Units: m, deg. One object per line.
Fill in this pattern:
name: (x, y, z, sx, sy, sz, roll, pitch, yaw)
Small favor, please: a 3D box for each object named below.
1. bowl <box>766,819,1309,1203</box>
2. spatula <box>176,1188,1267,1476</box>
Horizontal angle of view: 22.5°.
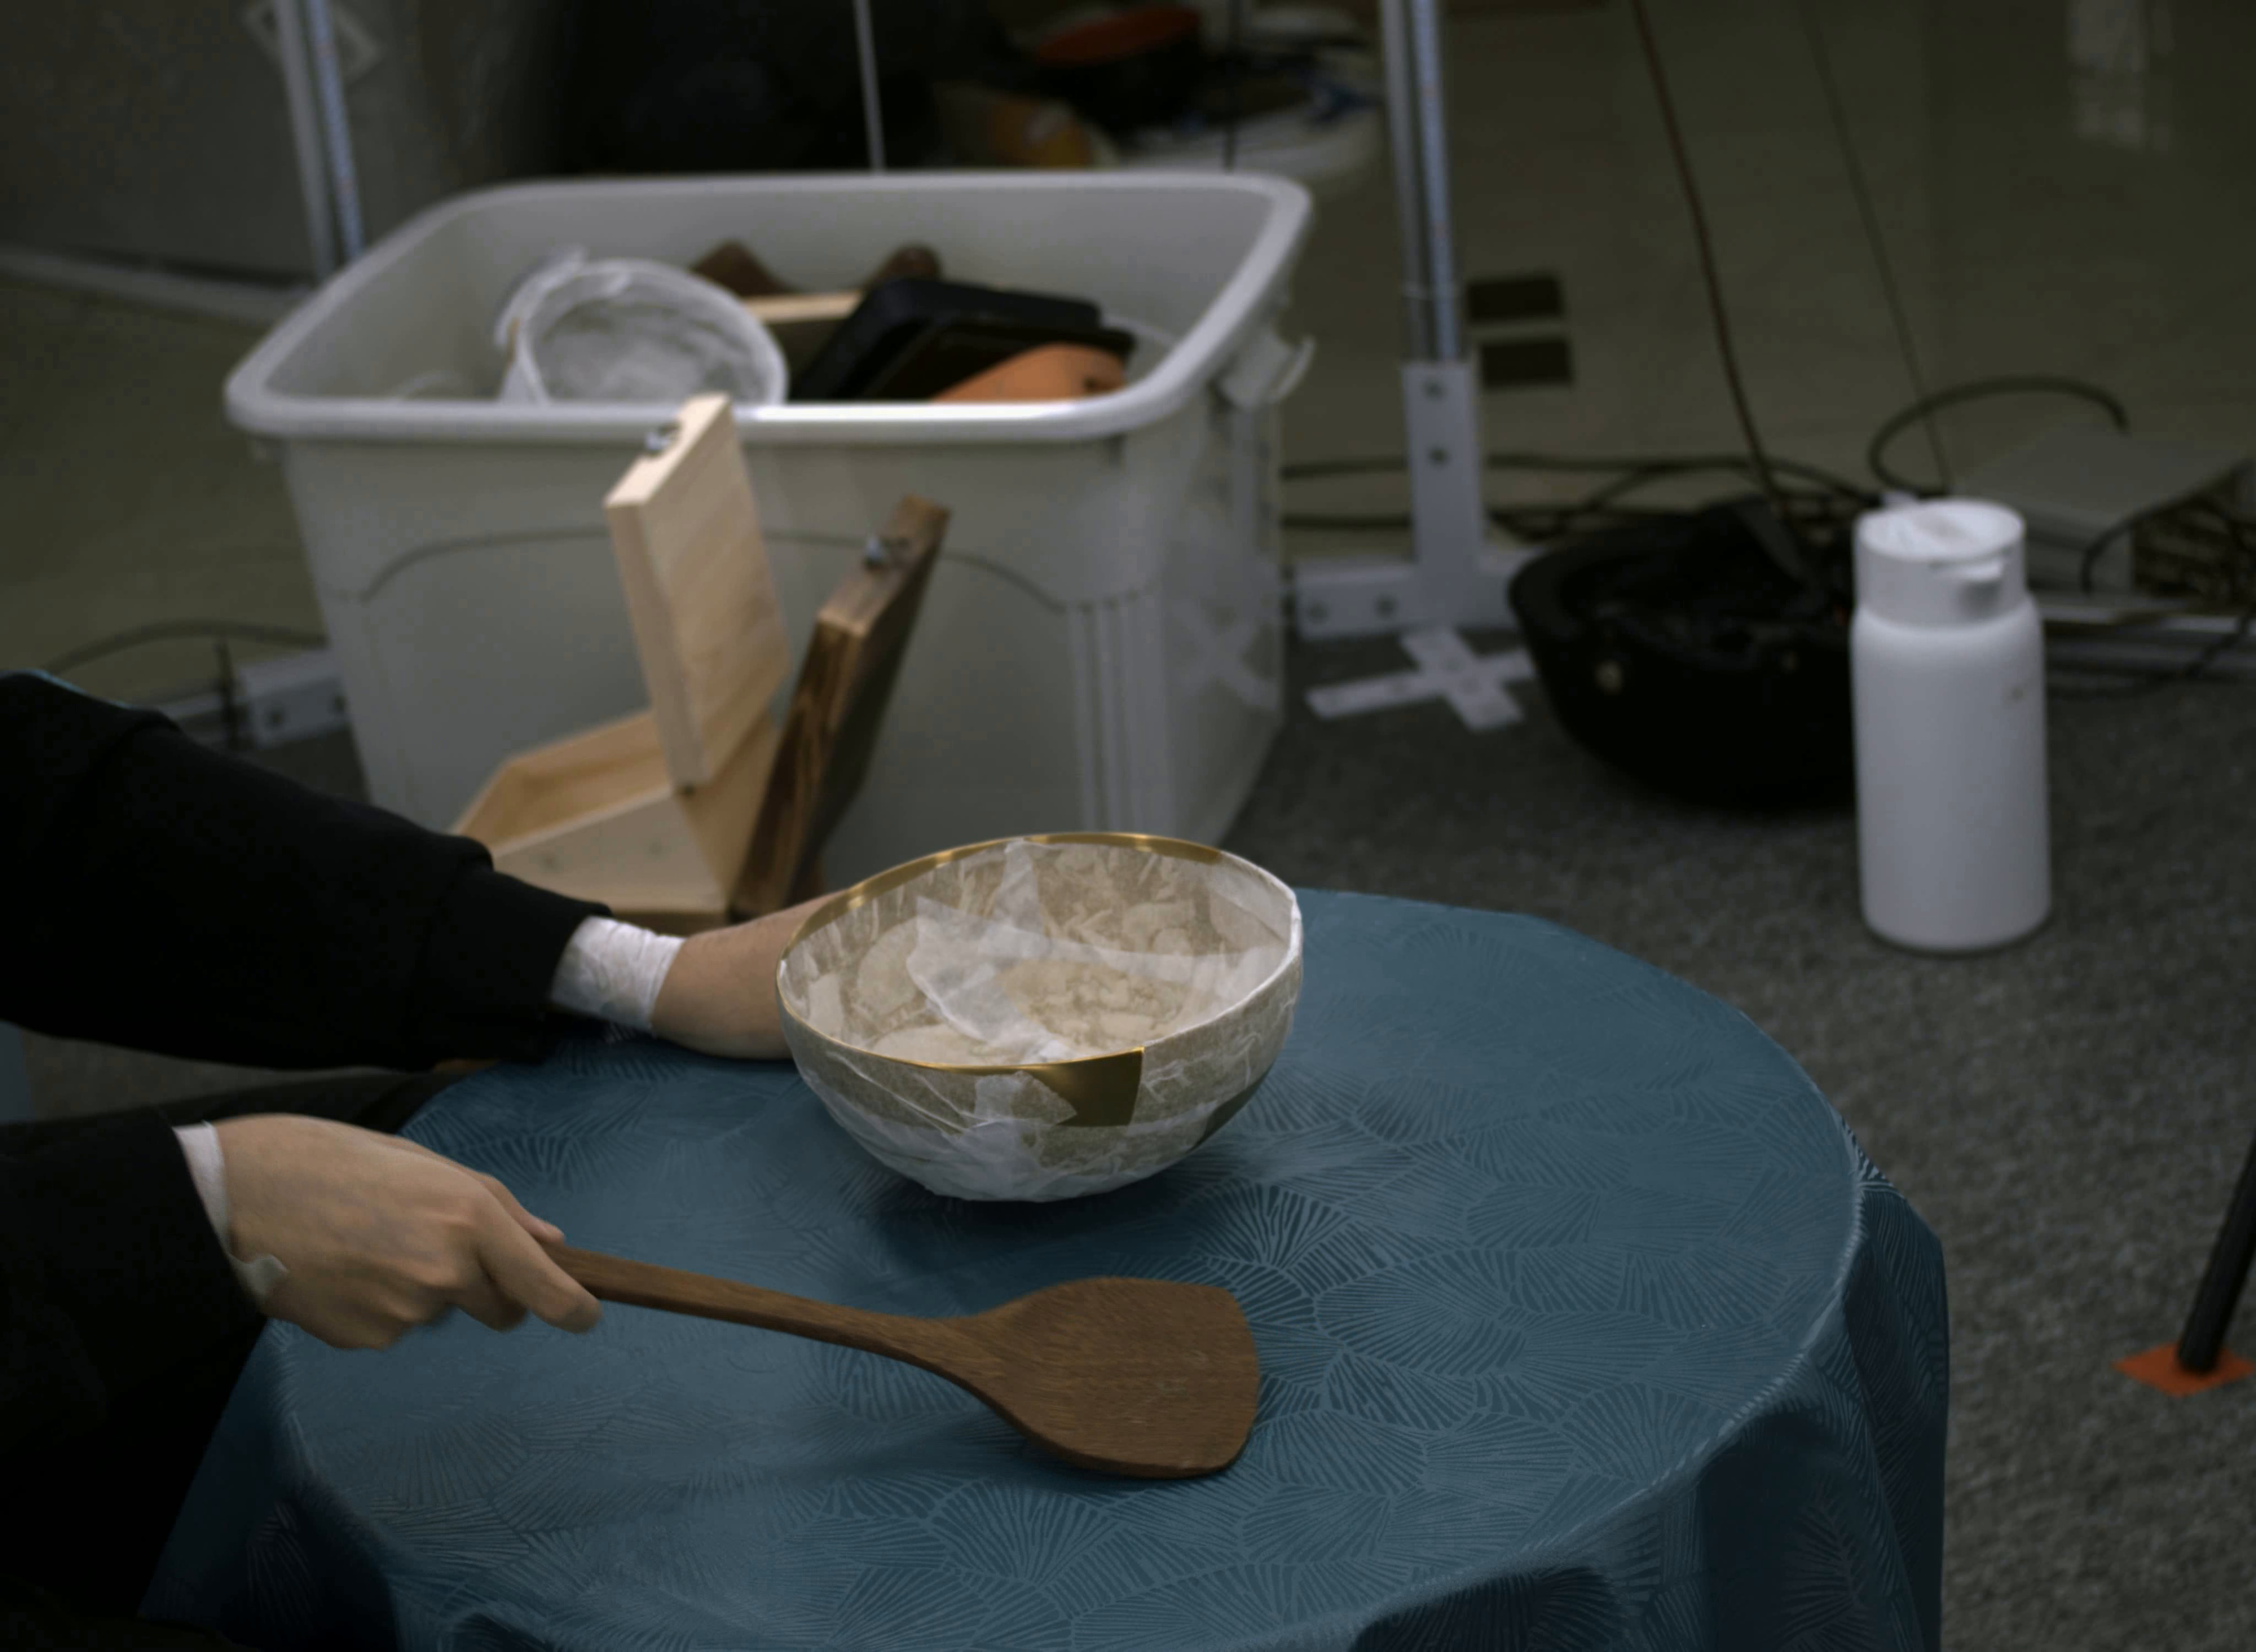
bowl: (-0.031, 0.083, 2.167, 0.214, 0.096, 0.211, -6, 26, 3)
spatula: (-0.140, 0.168, 1.980, 0.386, 0.016, 0.094, 11, 37, -6)
